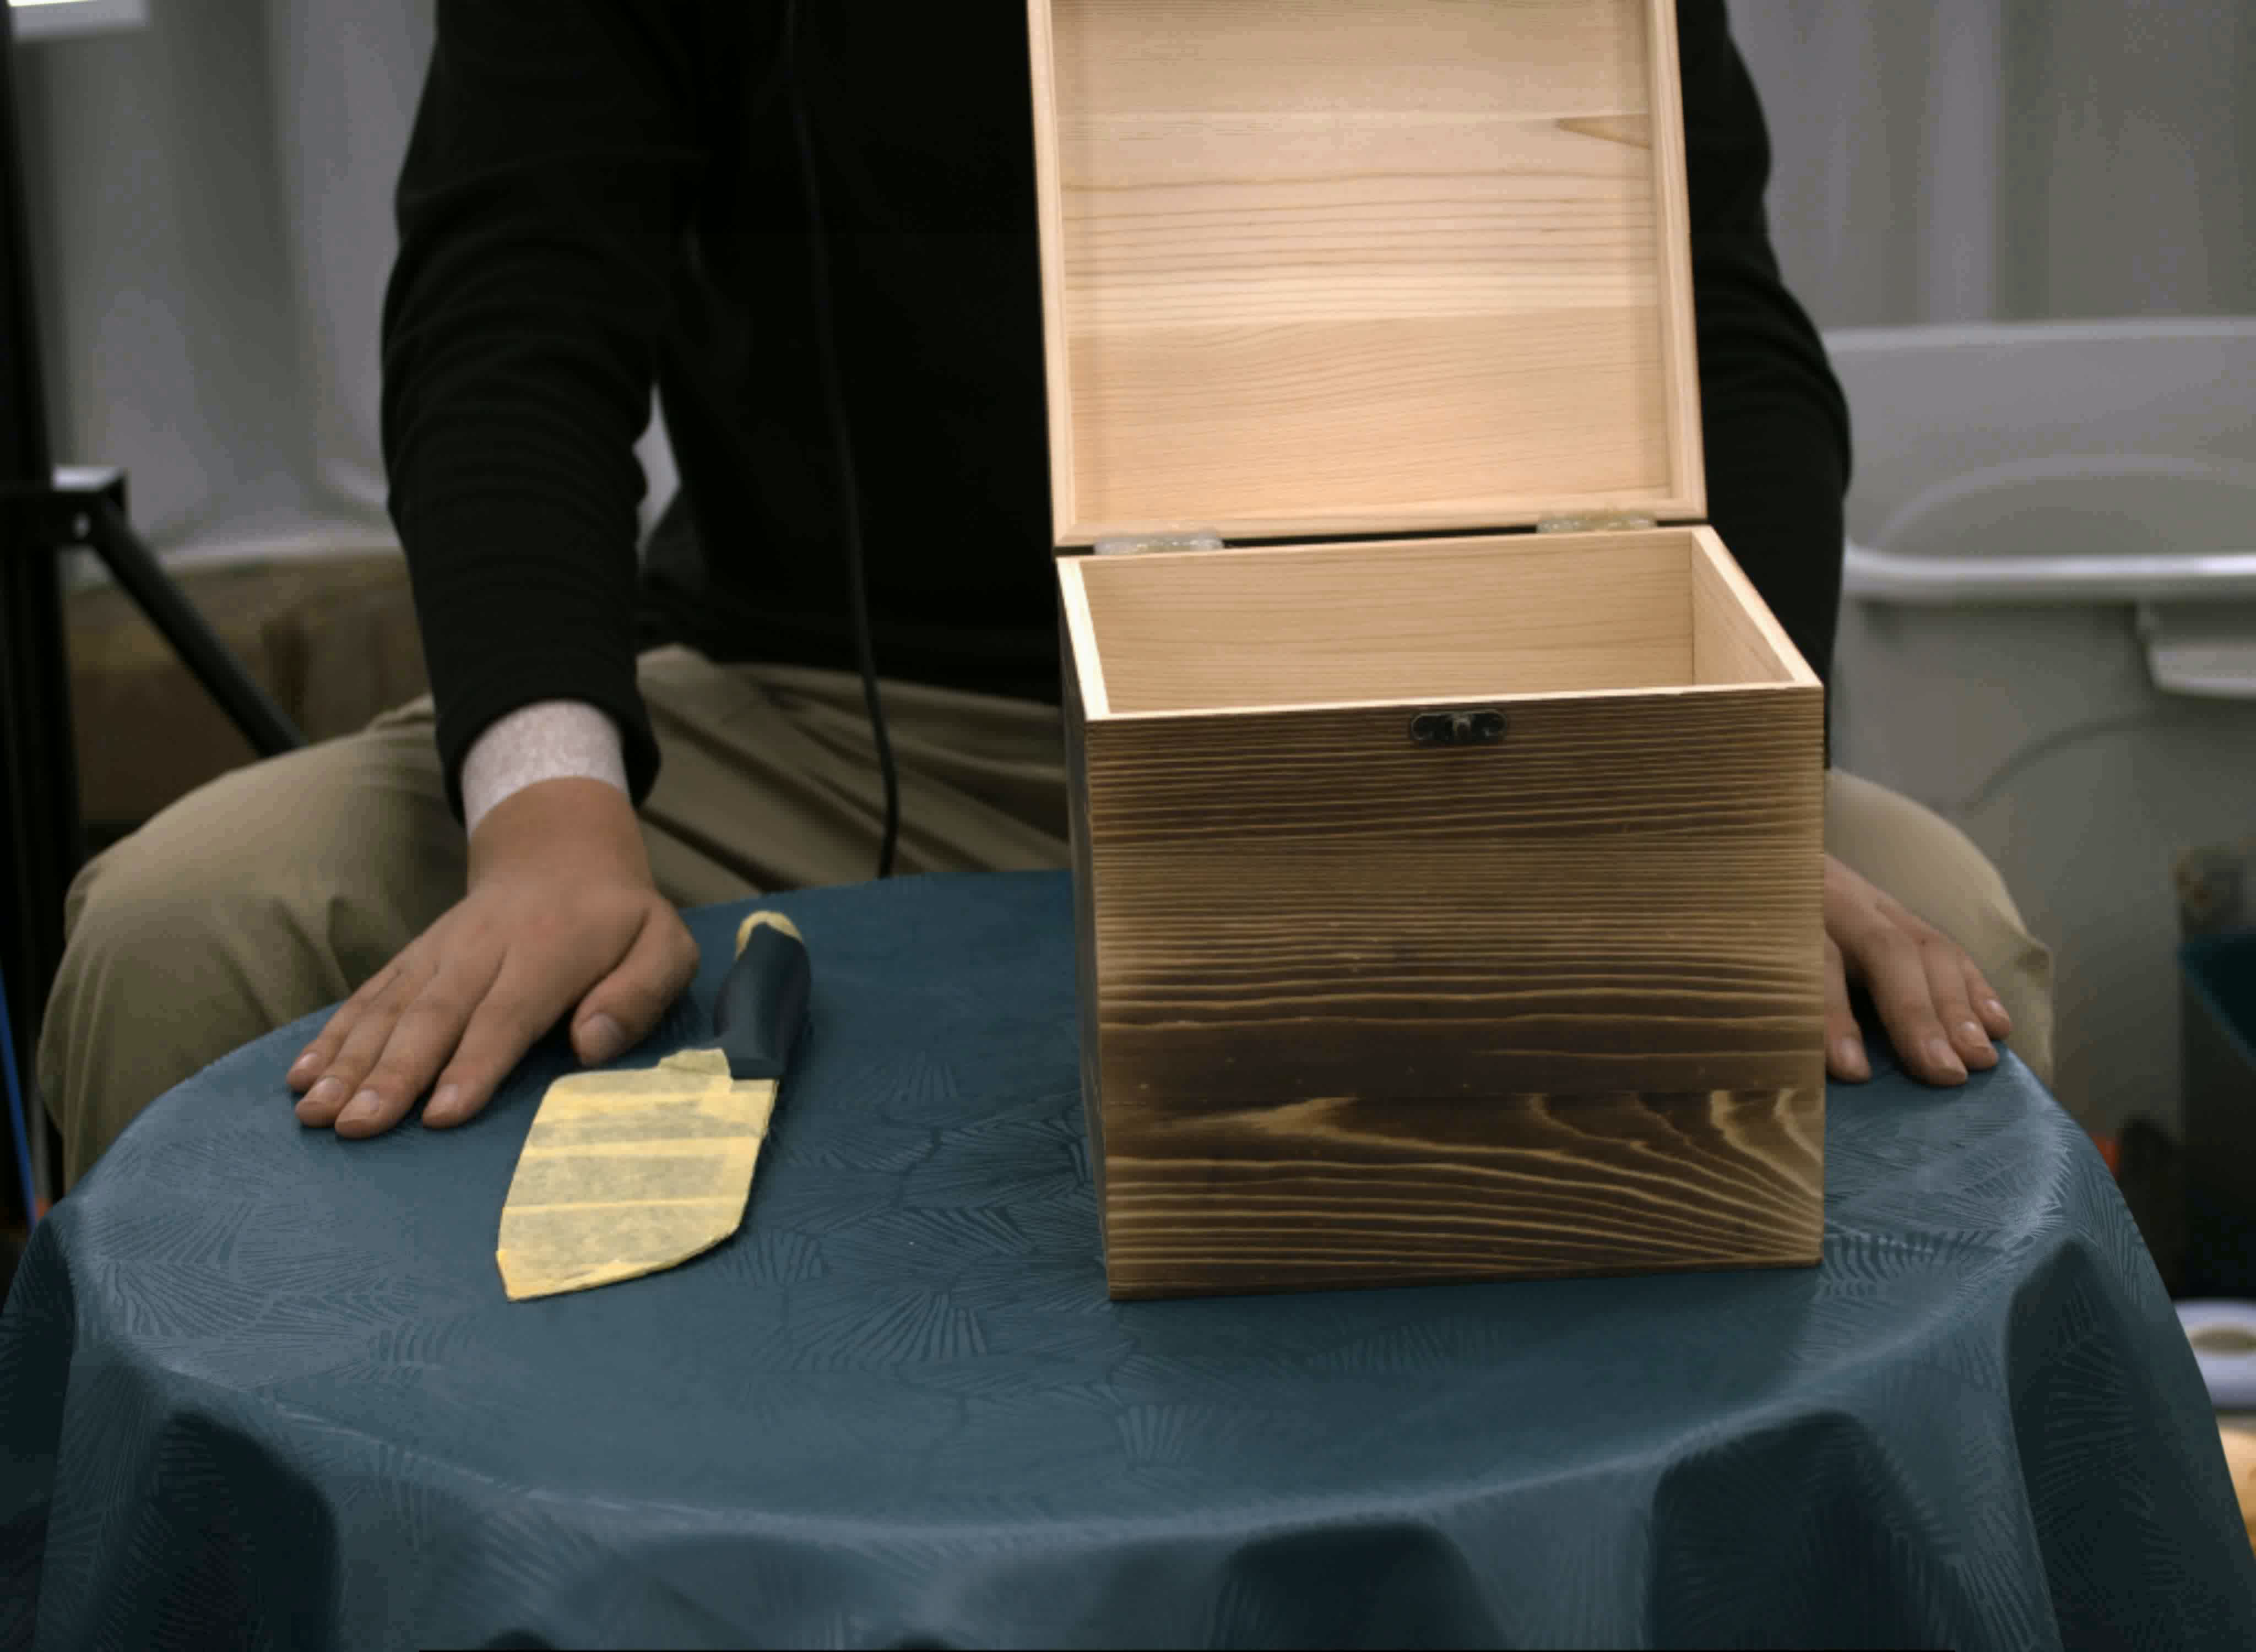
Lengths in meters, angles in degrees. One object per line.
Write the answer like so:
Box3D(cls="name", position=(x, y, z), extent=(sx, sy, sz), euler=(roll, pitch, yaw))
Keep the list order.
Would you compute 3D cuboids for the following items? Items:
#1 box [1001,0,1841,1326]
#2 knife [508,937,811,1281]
Box3D(cls="box", position=(0.078, -0.085, 1.569), extent=(0.207, 0.375, 0.324), euler=(-4, 14, -2))
Box3D(cls="knife", position=(-0.140, 0.086, 1.633), extent=(0.081, 0.027, 0.289), euler=(1, 17, 6))
